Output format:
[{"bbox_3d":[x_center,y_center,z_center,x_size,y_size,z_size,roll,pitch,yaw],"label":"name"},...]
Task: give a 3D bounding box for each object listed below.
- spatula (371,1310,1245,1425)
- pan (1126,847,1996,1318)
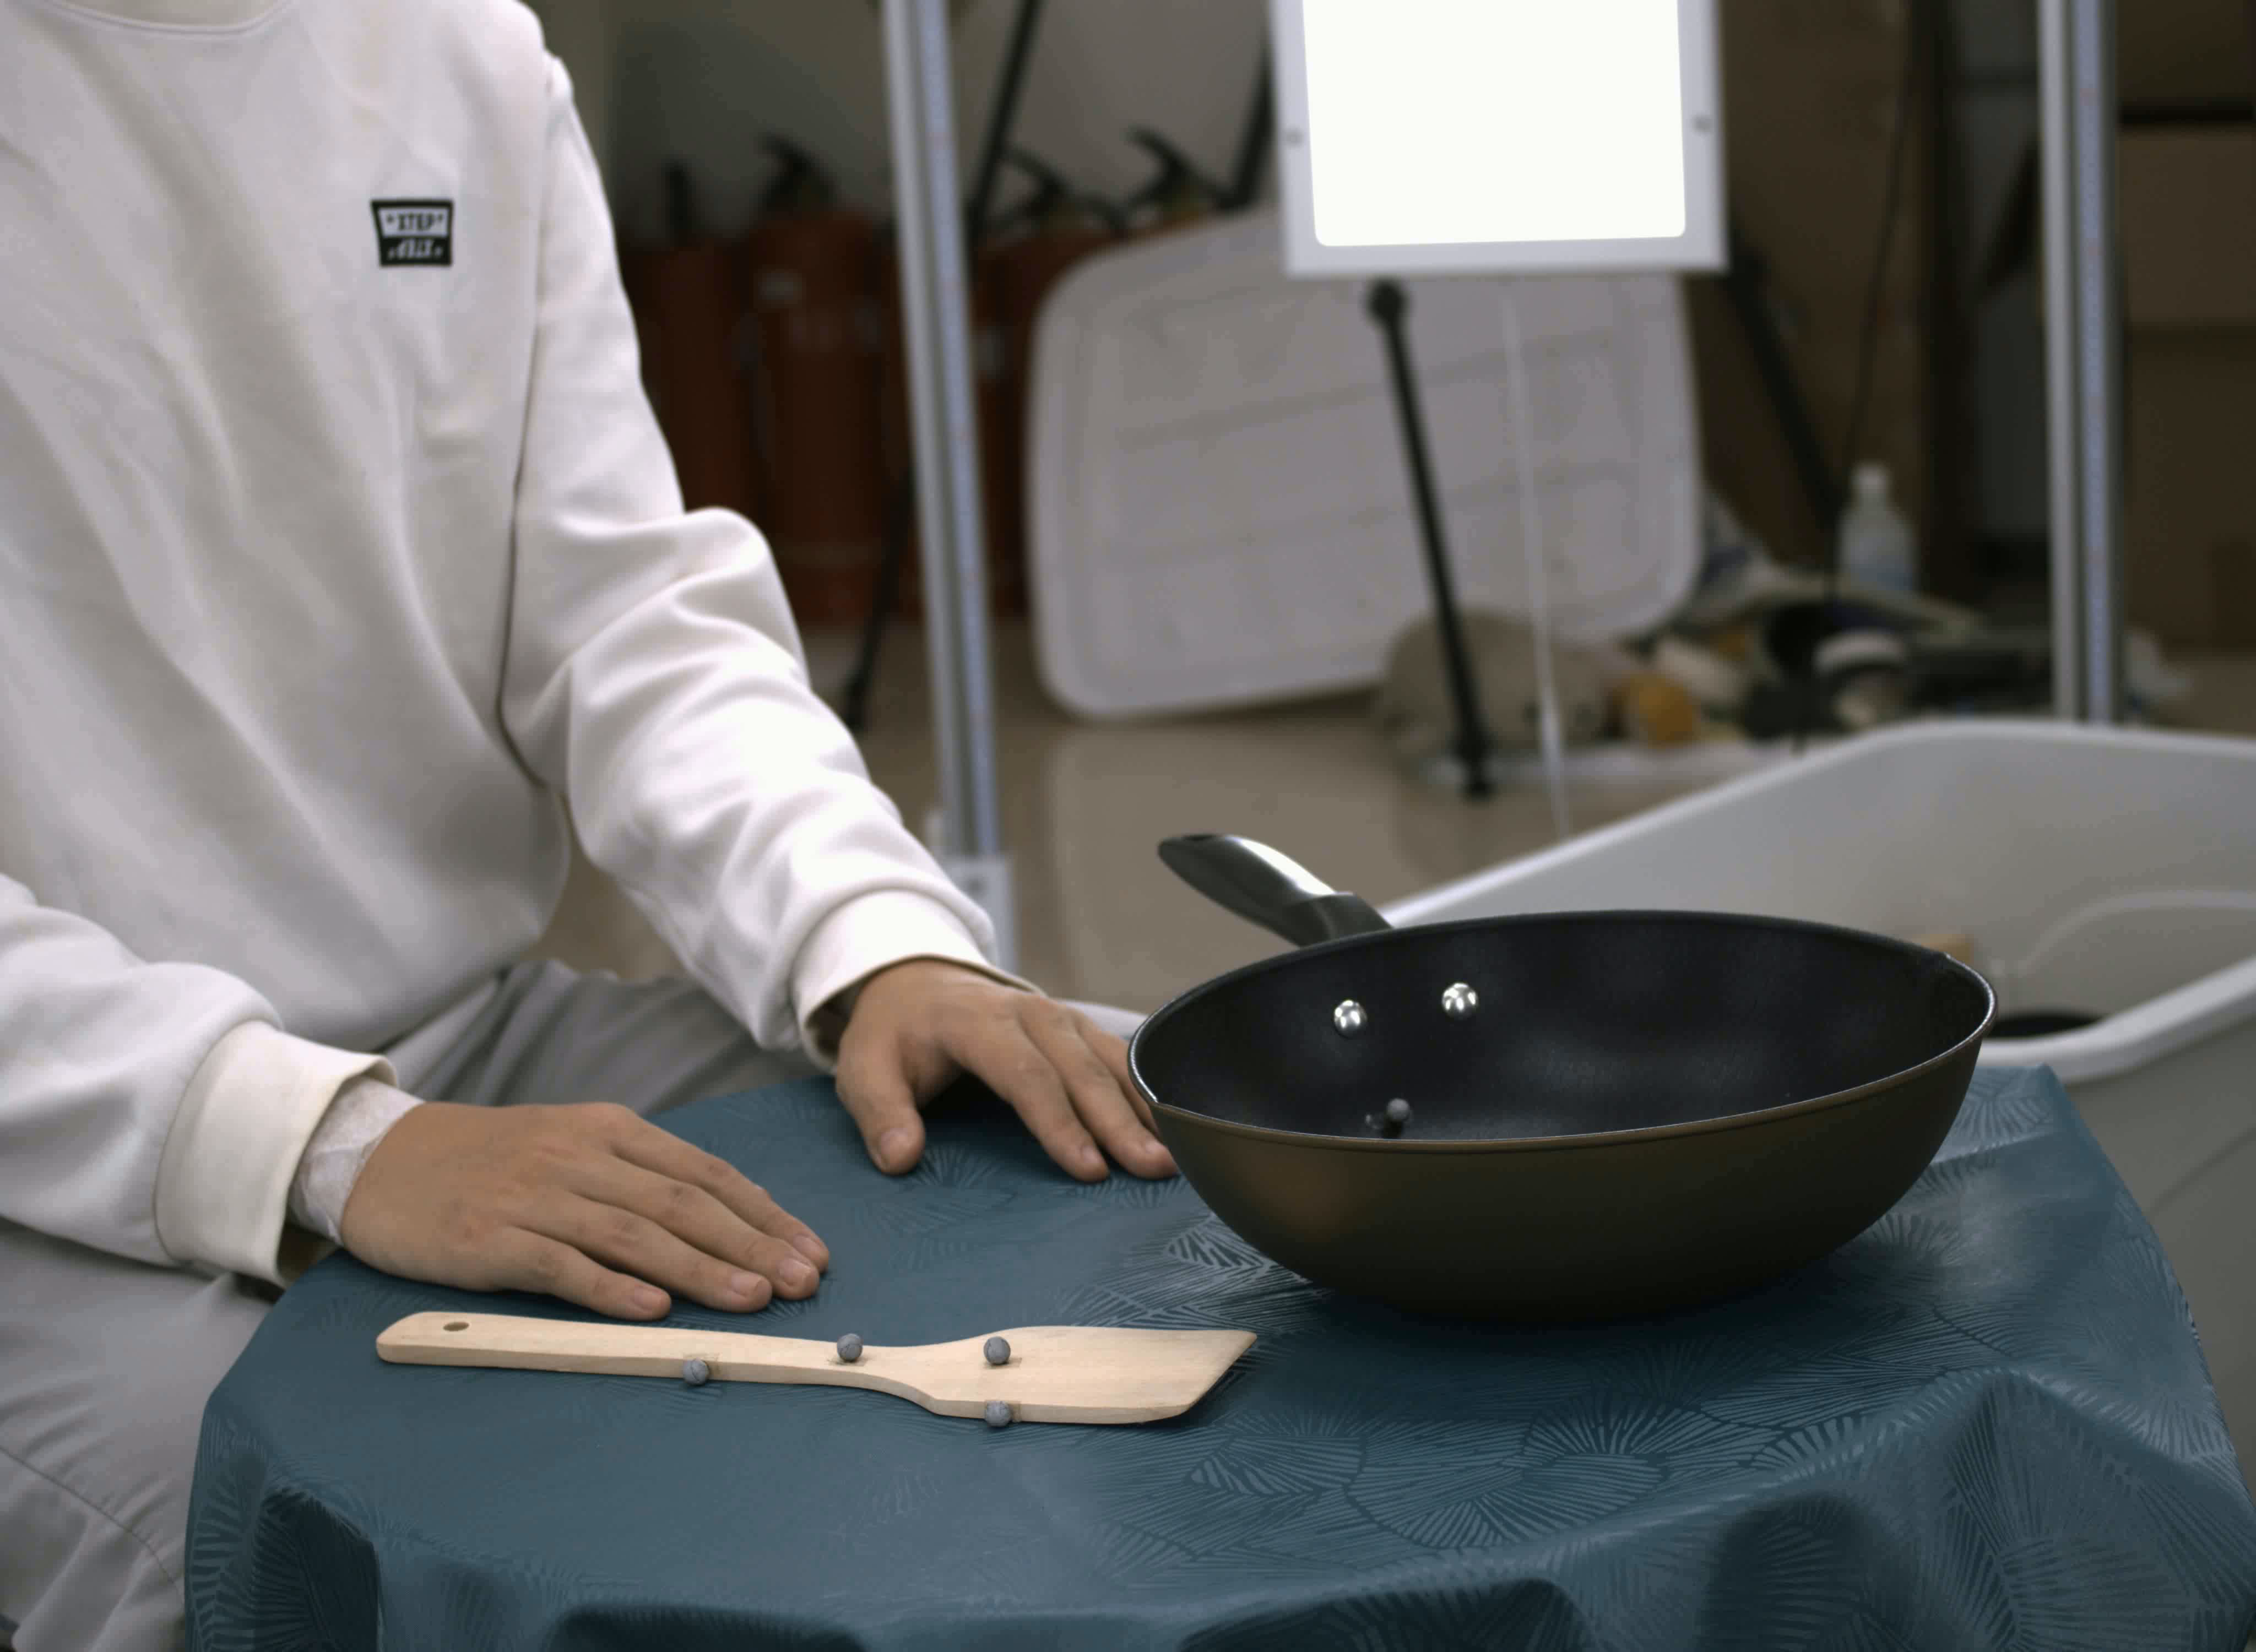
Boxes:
[{"bbox_3d":[-0.109,0.168,1.747,0.297,0.011,0.071,1,16,23],"label":"spatula"},{"bbox_3d":[0.110,0.083,1.864,0.283,0.087,0.469,-10,12,-19],"label":"pan"}]
